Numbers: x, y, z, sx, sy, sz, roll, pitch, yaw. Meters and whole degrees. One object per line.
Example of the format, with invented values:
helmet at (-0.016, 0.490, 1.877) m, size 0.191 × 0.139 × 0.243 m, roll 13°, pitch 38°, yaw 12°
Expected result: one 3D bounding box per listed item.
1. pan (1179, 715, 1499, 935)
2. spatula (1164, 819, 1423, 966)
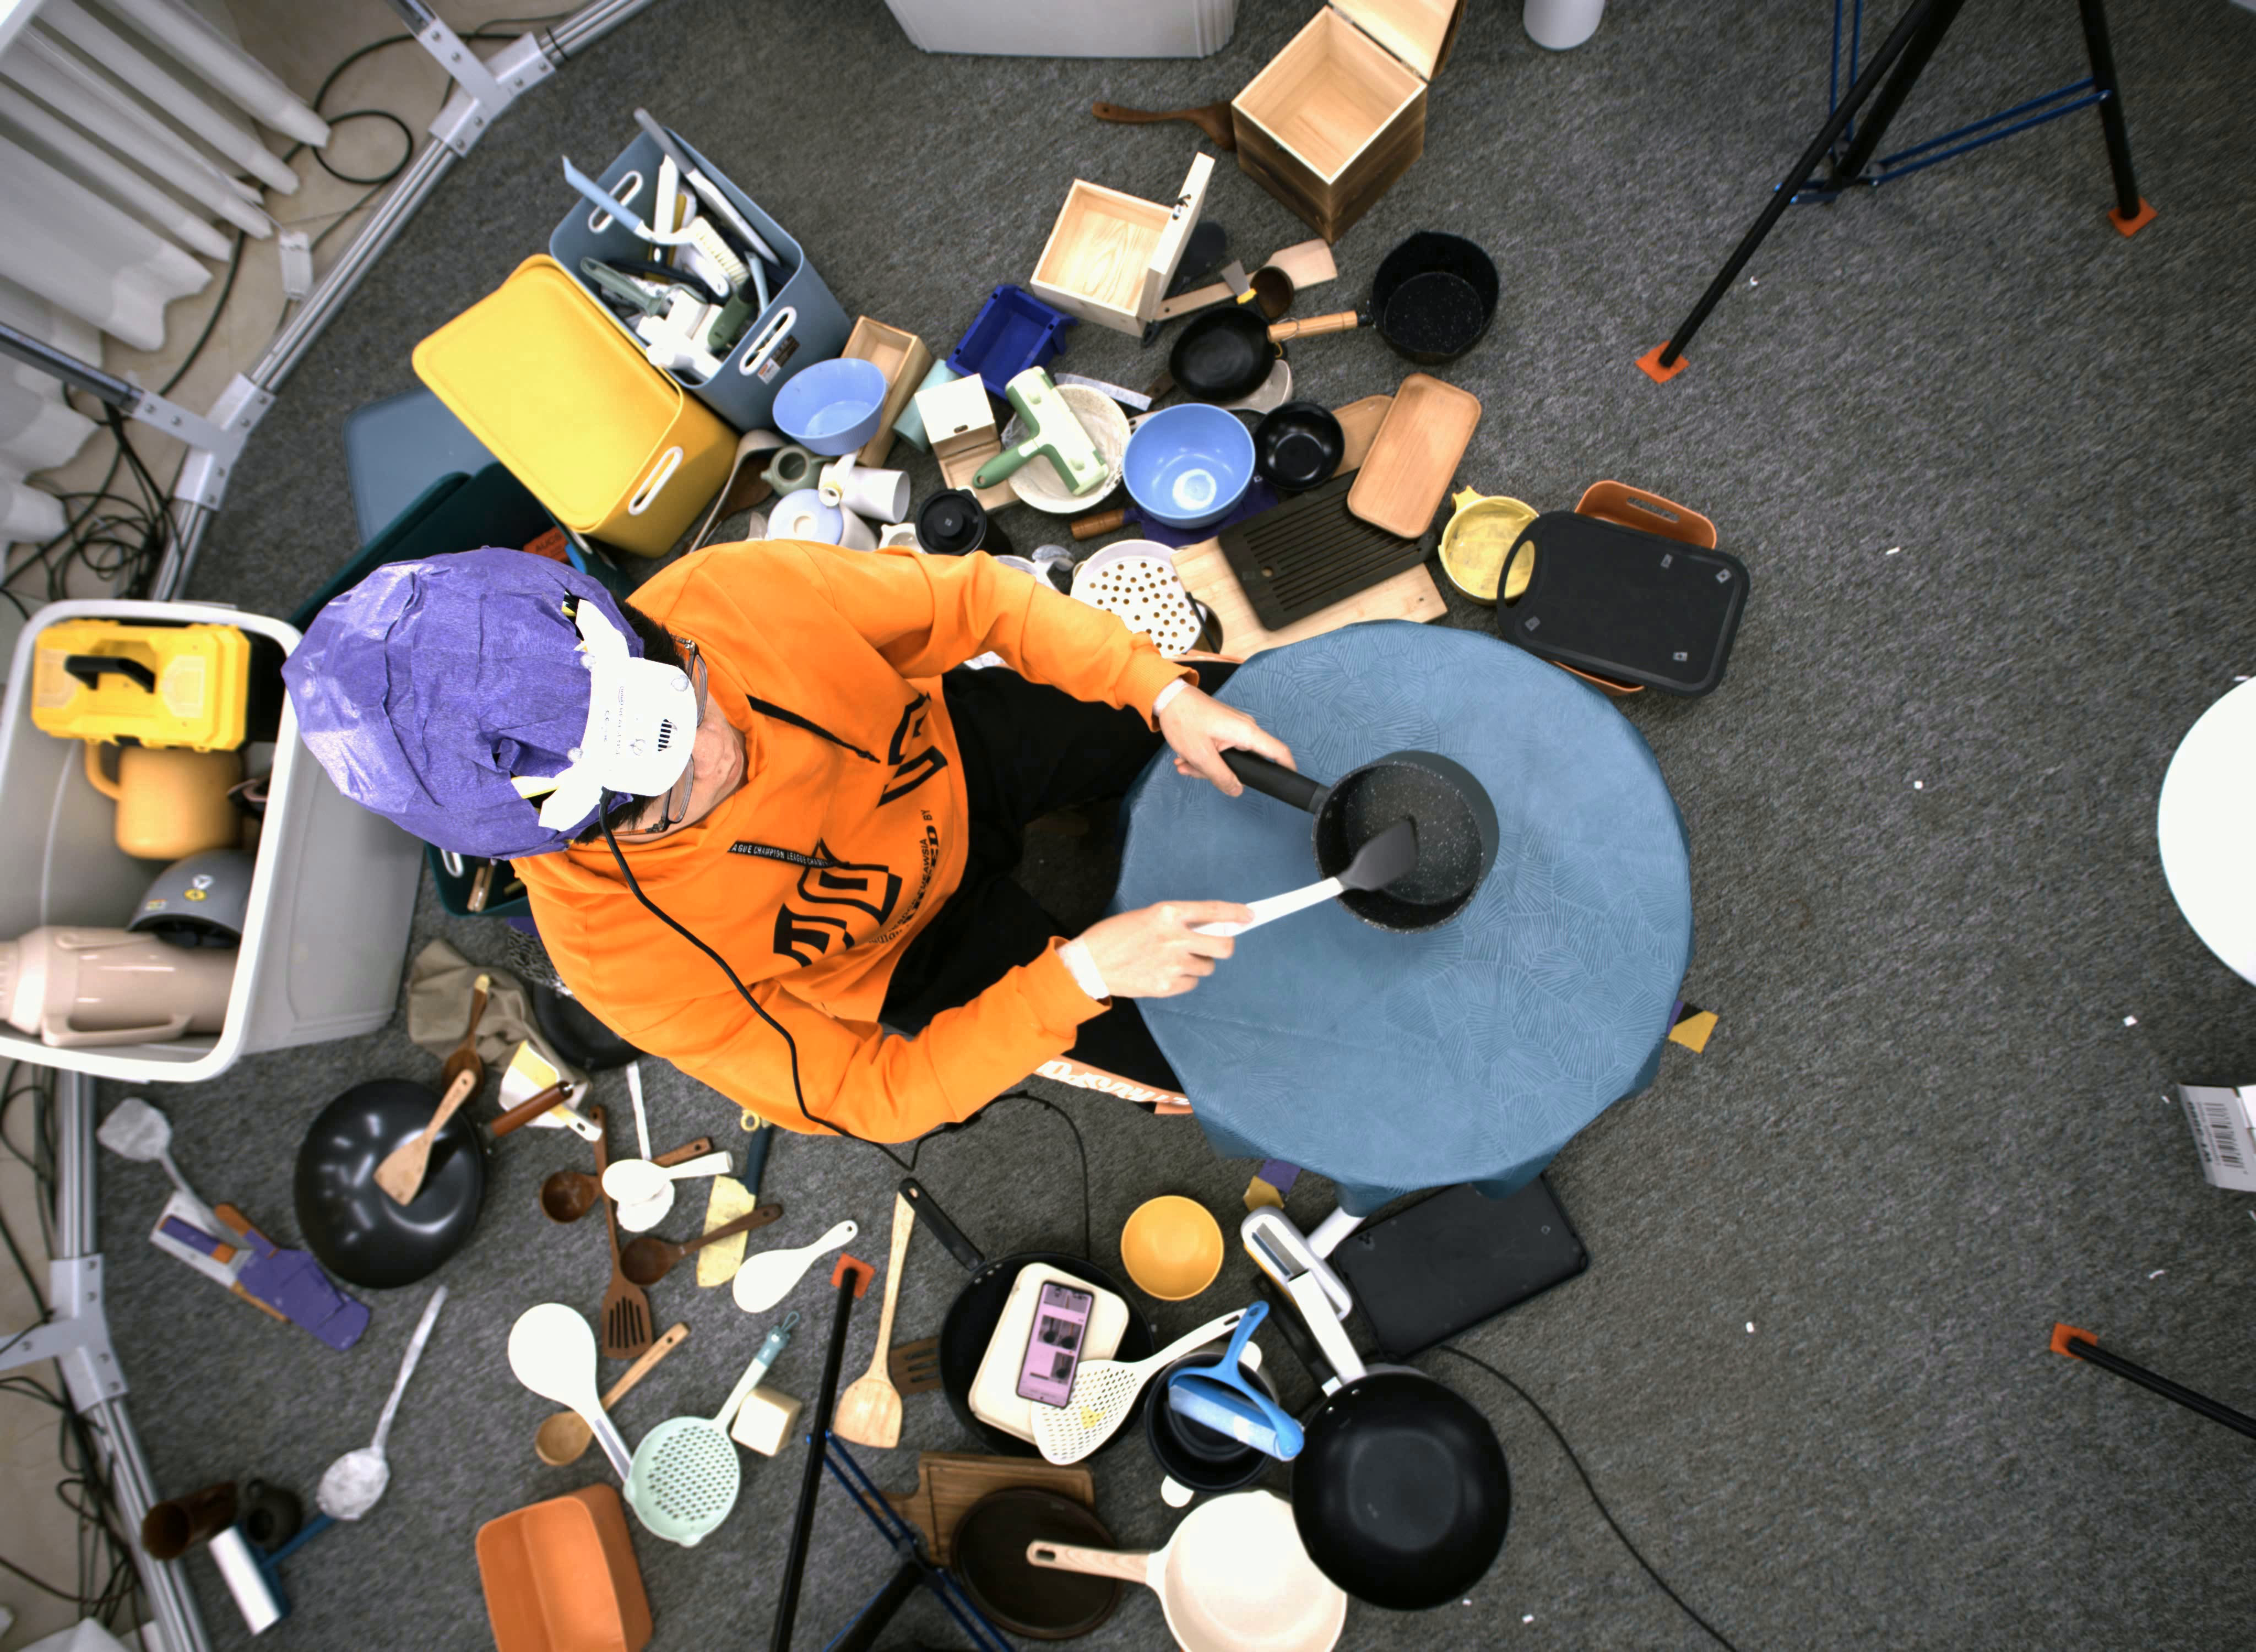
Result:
pan at (0.205, -0.025, 1.360) m, size 0.327 × 0.085 × 0.176 m, roll 30°, pitch 118°, yaw 16°
spatula at (0.167, 0.066, 1.326) m, size 0.285 × 0.032 × 0.059 m, roll -21°, pitch 108°, yaw -16°
